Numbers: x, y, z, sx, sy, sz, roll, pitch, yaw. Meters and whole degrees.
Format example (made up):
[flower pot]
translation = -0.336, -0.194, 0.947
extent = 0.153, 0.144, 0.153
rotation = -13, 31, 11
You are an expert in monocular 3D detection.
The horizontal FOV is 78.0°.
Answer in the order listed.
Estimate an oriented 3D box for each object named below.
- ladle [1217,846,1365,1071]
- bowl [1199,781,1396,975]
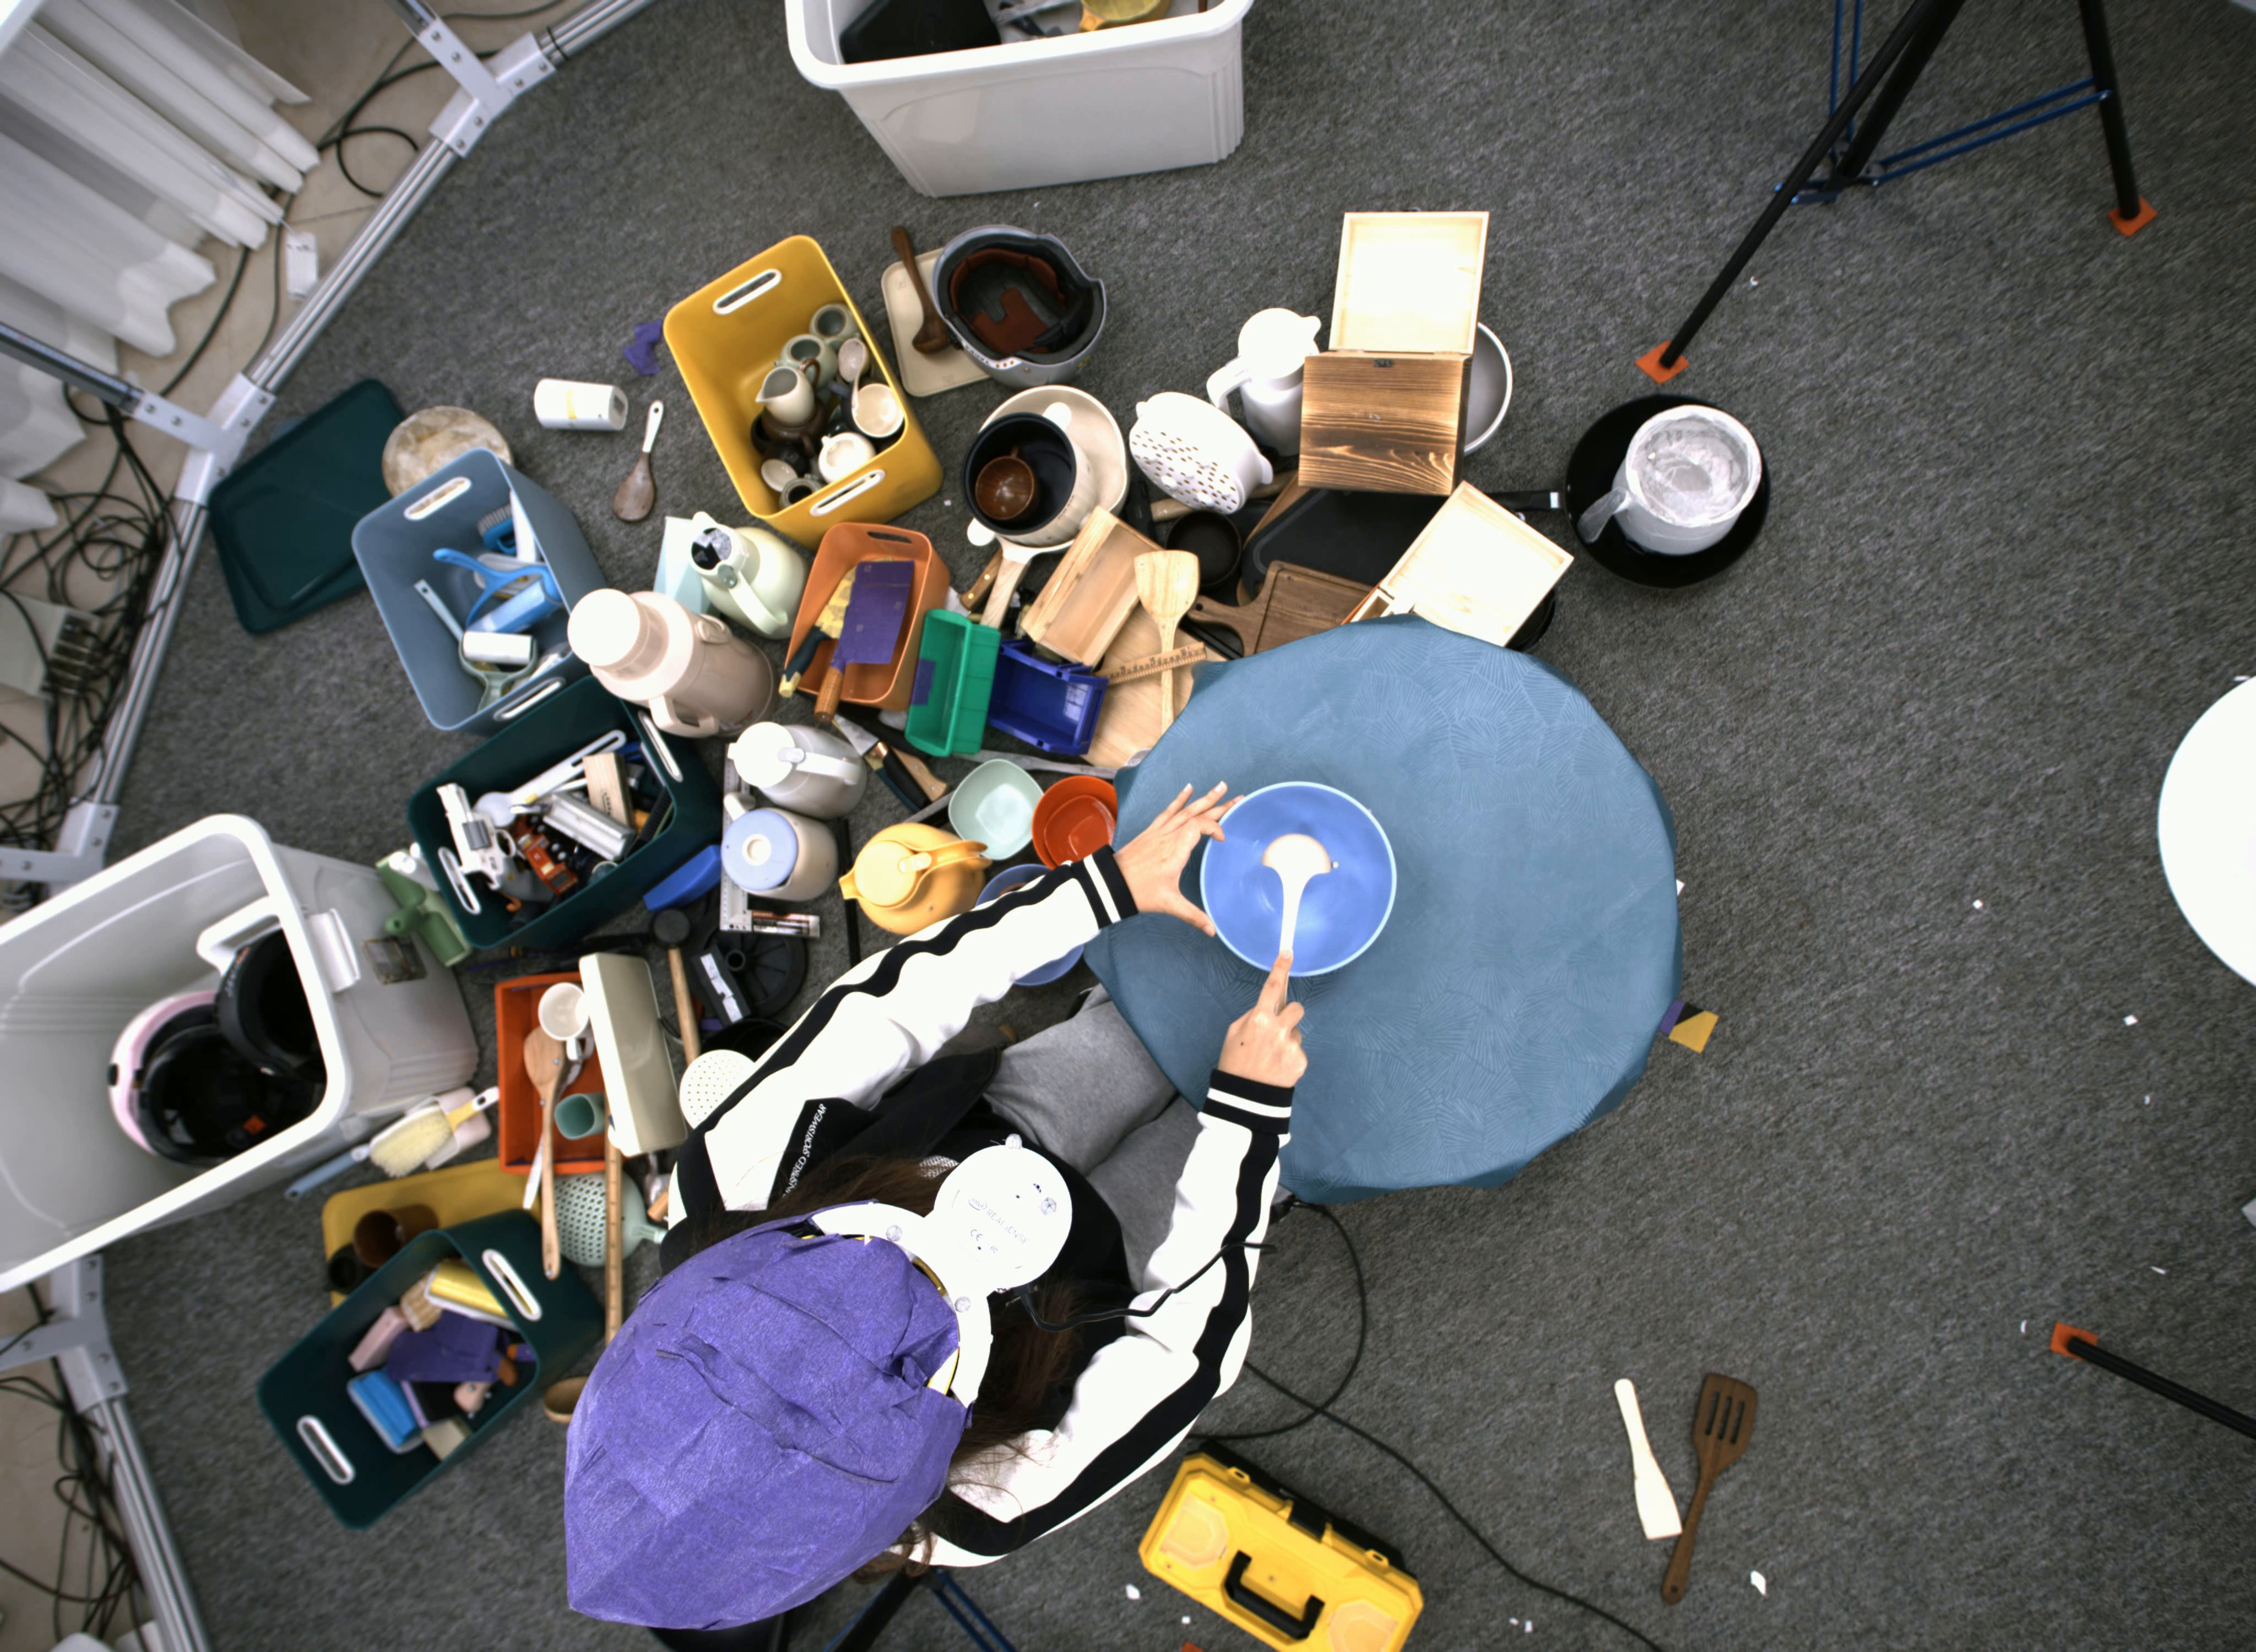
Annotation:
[ladle]
translation = 0.164, 0.139, 1.379
extent = 0.073, 0.072, 0.251
rotation = 31, 76, -31
[bowl]
translation = 0.176, 0.057, 1.430
extent = 0.197, 0.096, 0.195
rotation = -1, 84, 9
